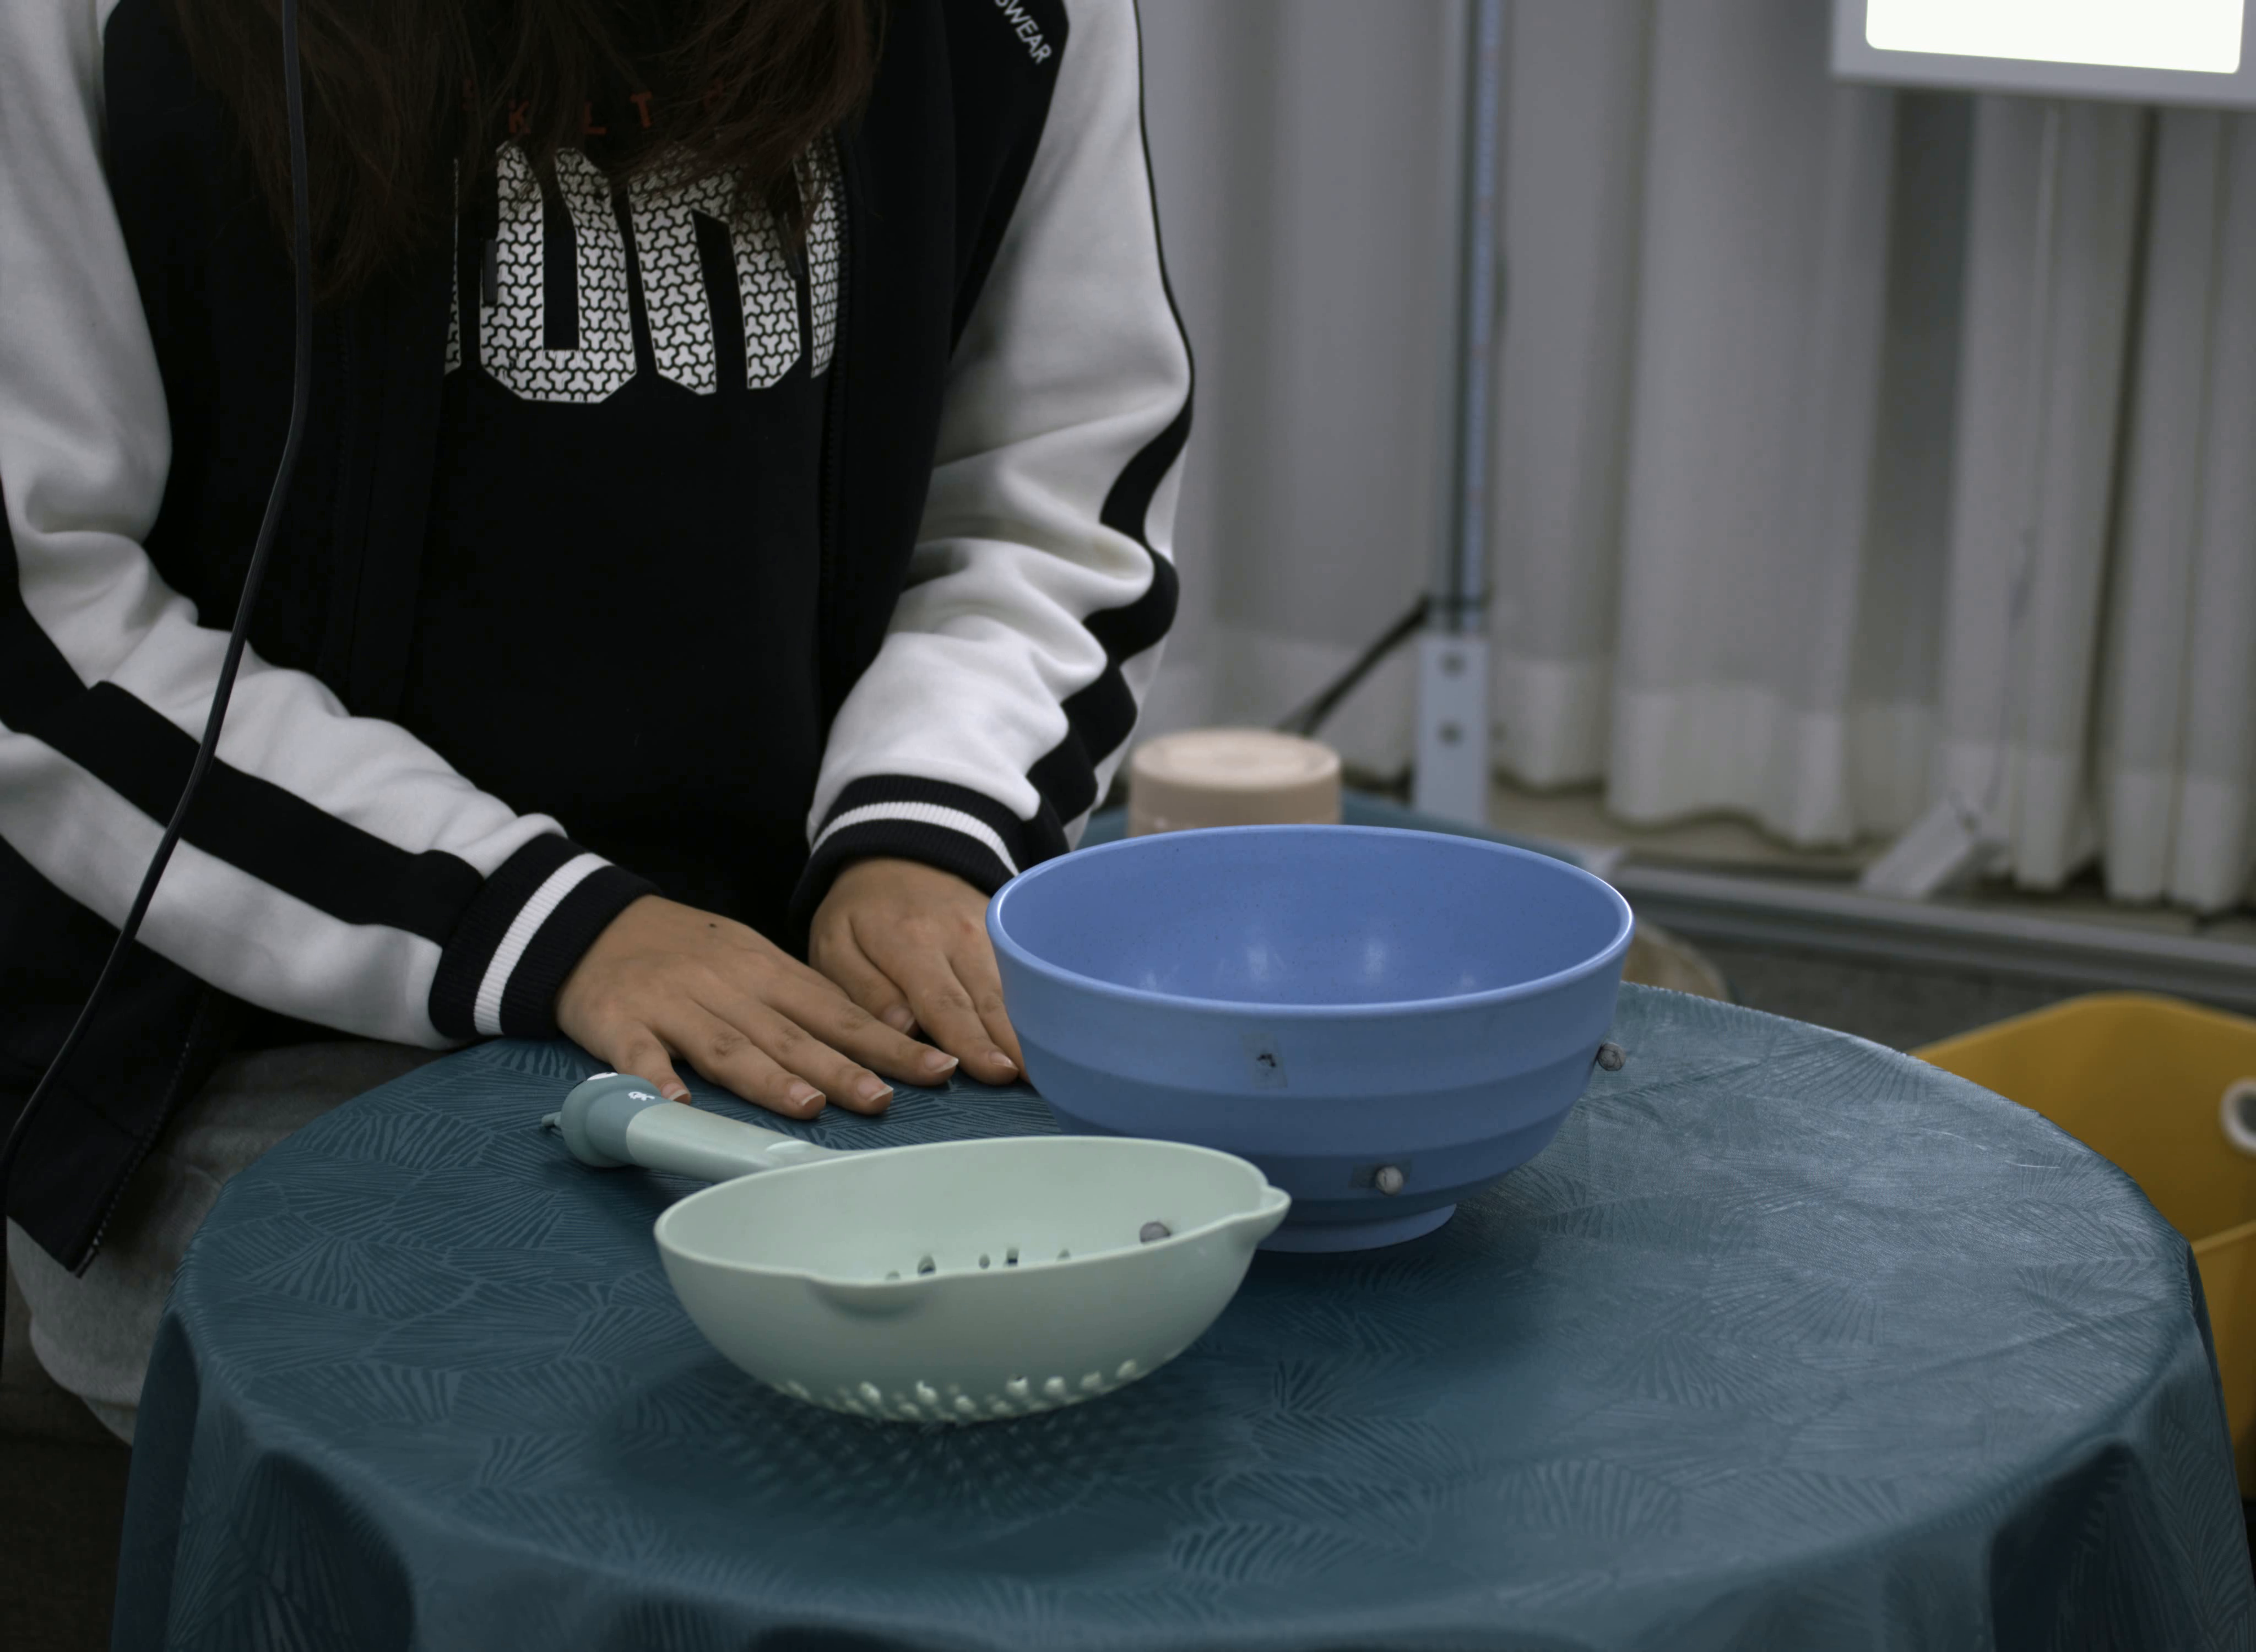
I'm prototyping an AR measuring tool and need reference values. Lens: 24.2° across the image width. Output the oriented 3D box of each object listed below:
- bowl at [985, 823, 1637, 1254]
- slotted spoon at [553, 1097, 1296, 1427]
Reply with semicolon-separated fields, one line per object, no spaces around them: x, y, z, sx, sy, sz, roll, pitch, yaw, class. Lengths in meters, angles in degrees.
0.055;0.070;1.598;0.196;0.096;0.195;0;16;1;bowl
-0.092;0.109;1.522;0.170;0.076;0.354;-7;16;-29;slotted spoon
